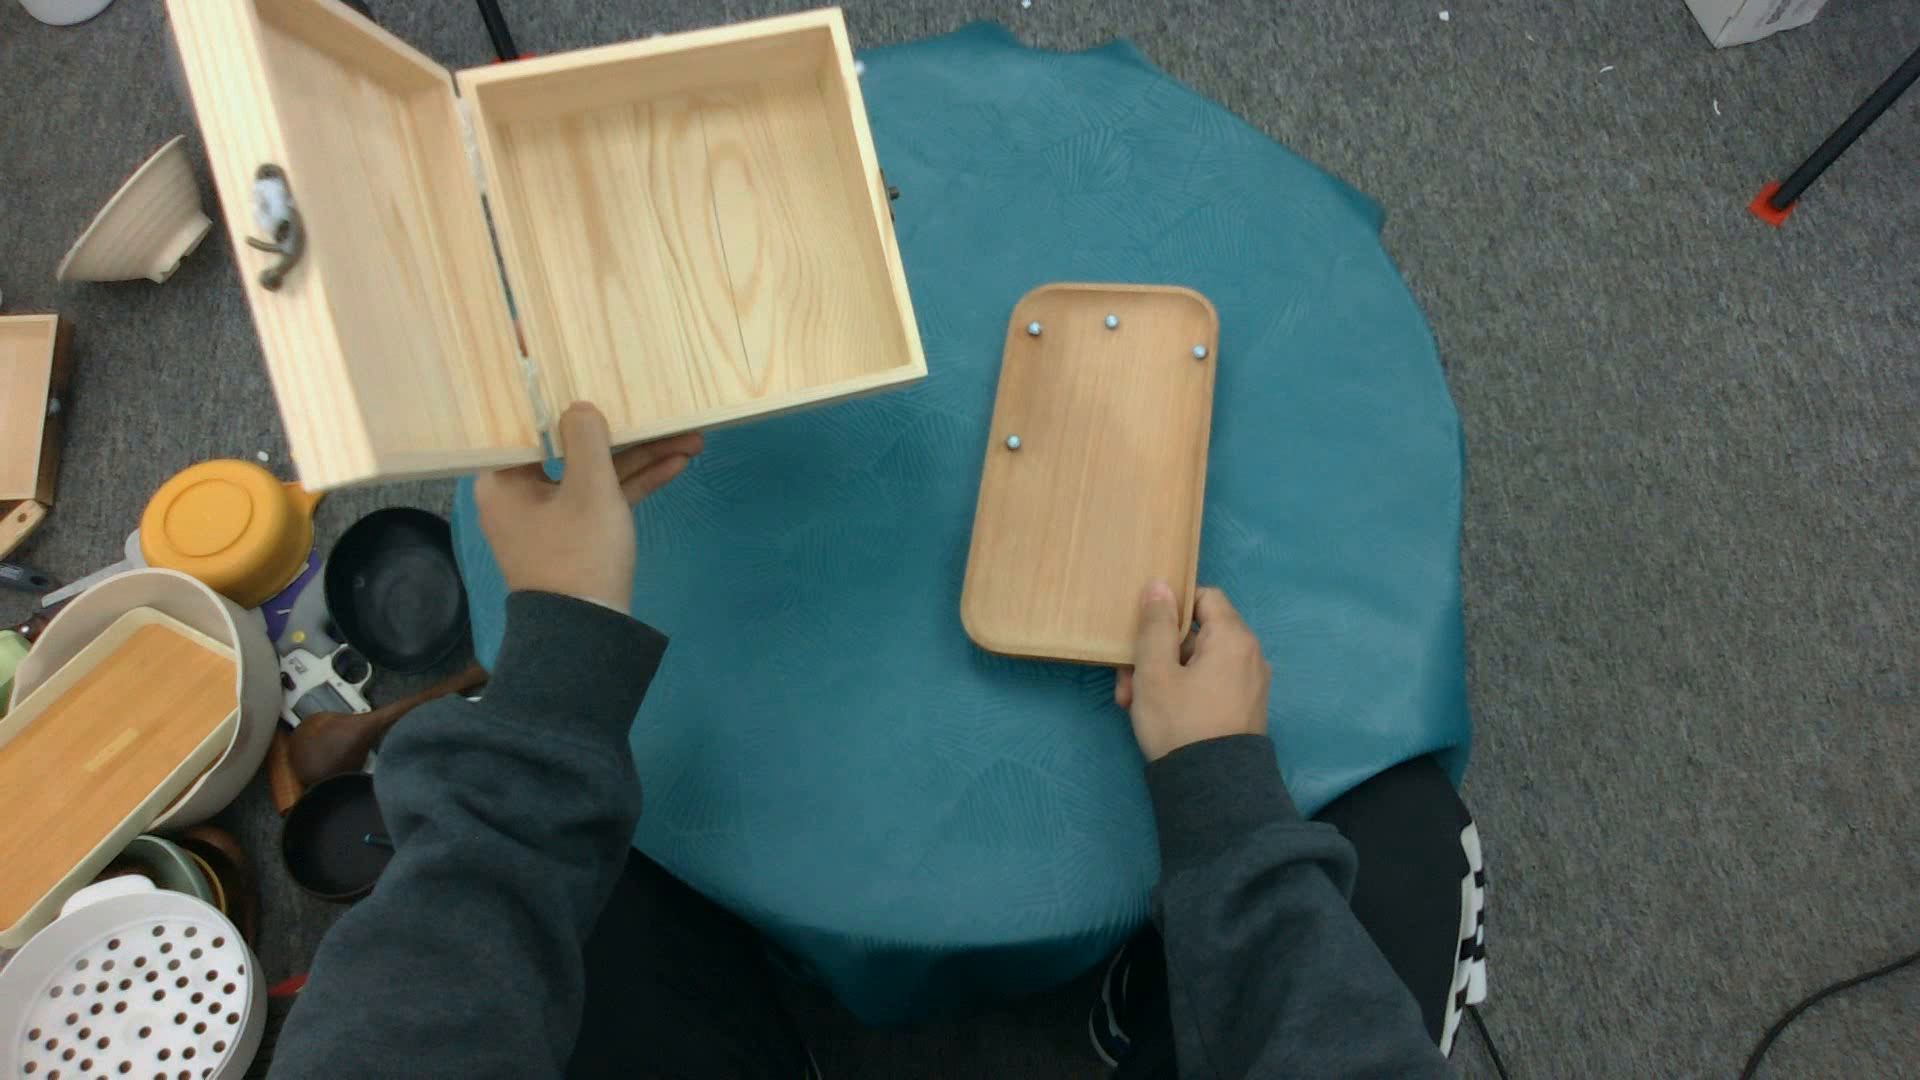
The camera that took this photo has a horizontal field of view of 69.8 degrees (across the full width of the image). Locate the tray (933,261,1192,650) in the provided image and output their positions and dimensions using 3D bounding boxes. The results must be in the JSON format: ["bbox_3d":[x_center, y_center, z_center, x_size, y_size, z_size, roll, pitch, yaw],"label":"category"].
[{"bbox_3d":[0.062,-0.055,0.788,0.130,0.023,0.251,3,64,14],"label":"tray"}]

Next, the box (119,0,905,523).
[{"bbox_3d":[-0.151,-0.140,0.584,0.265,0.253,0.181,-16,101,-13],"label":"box"}]
